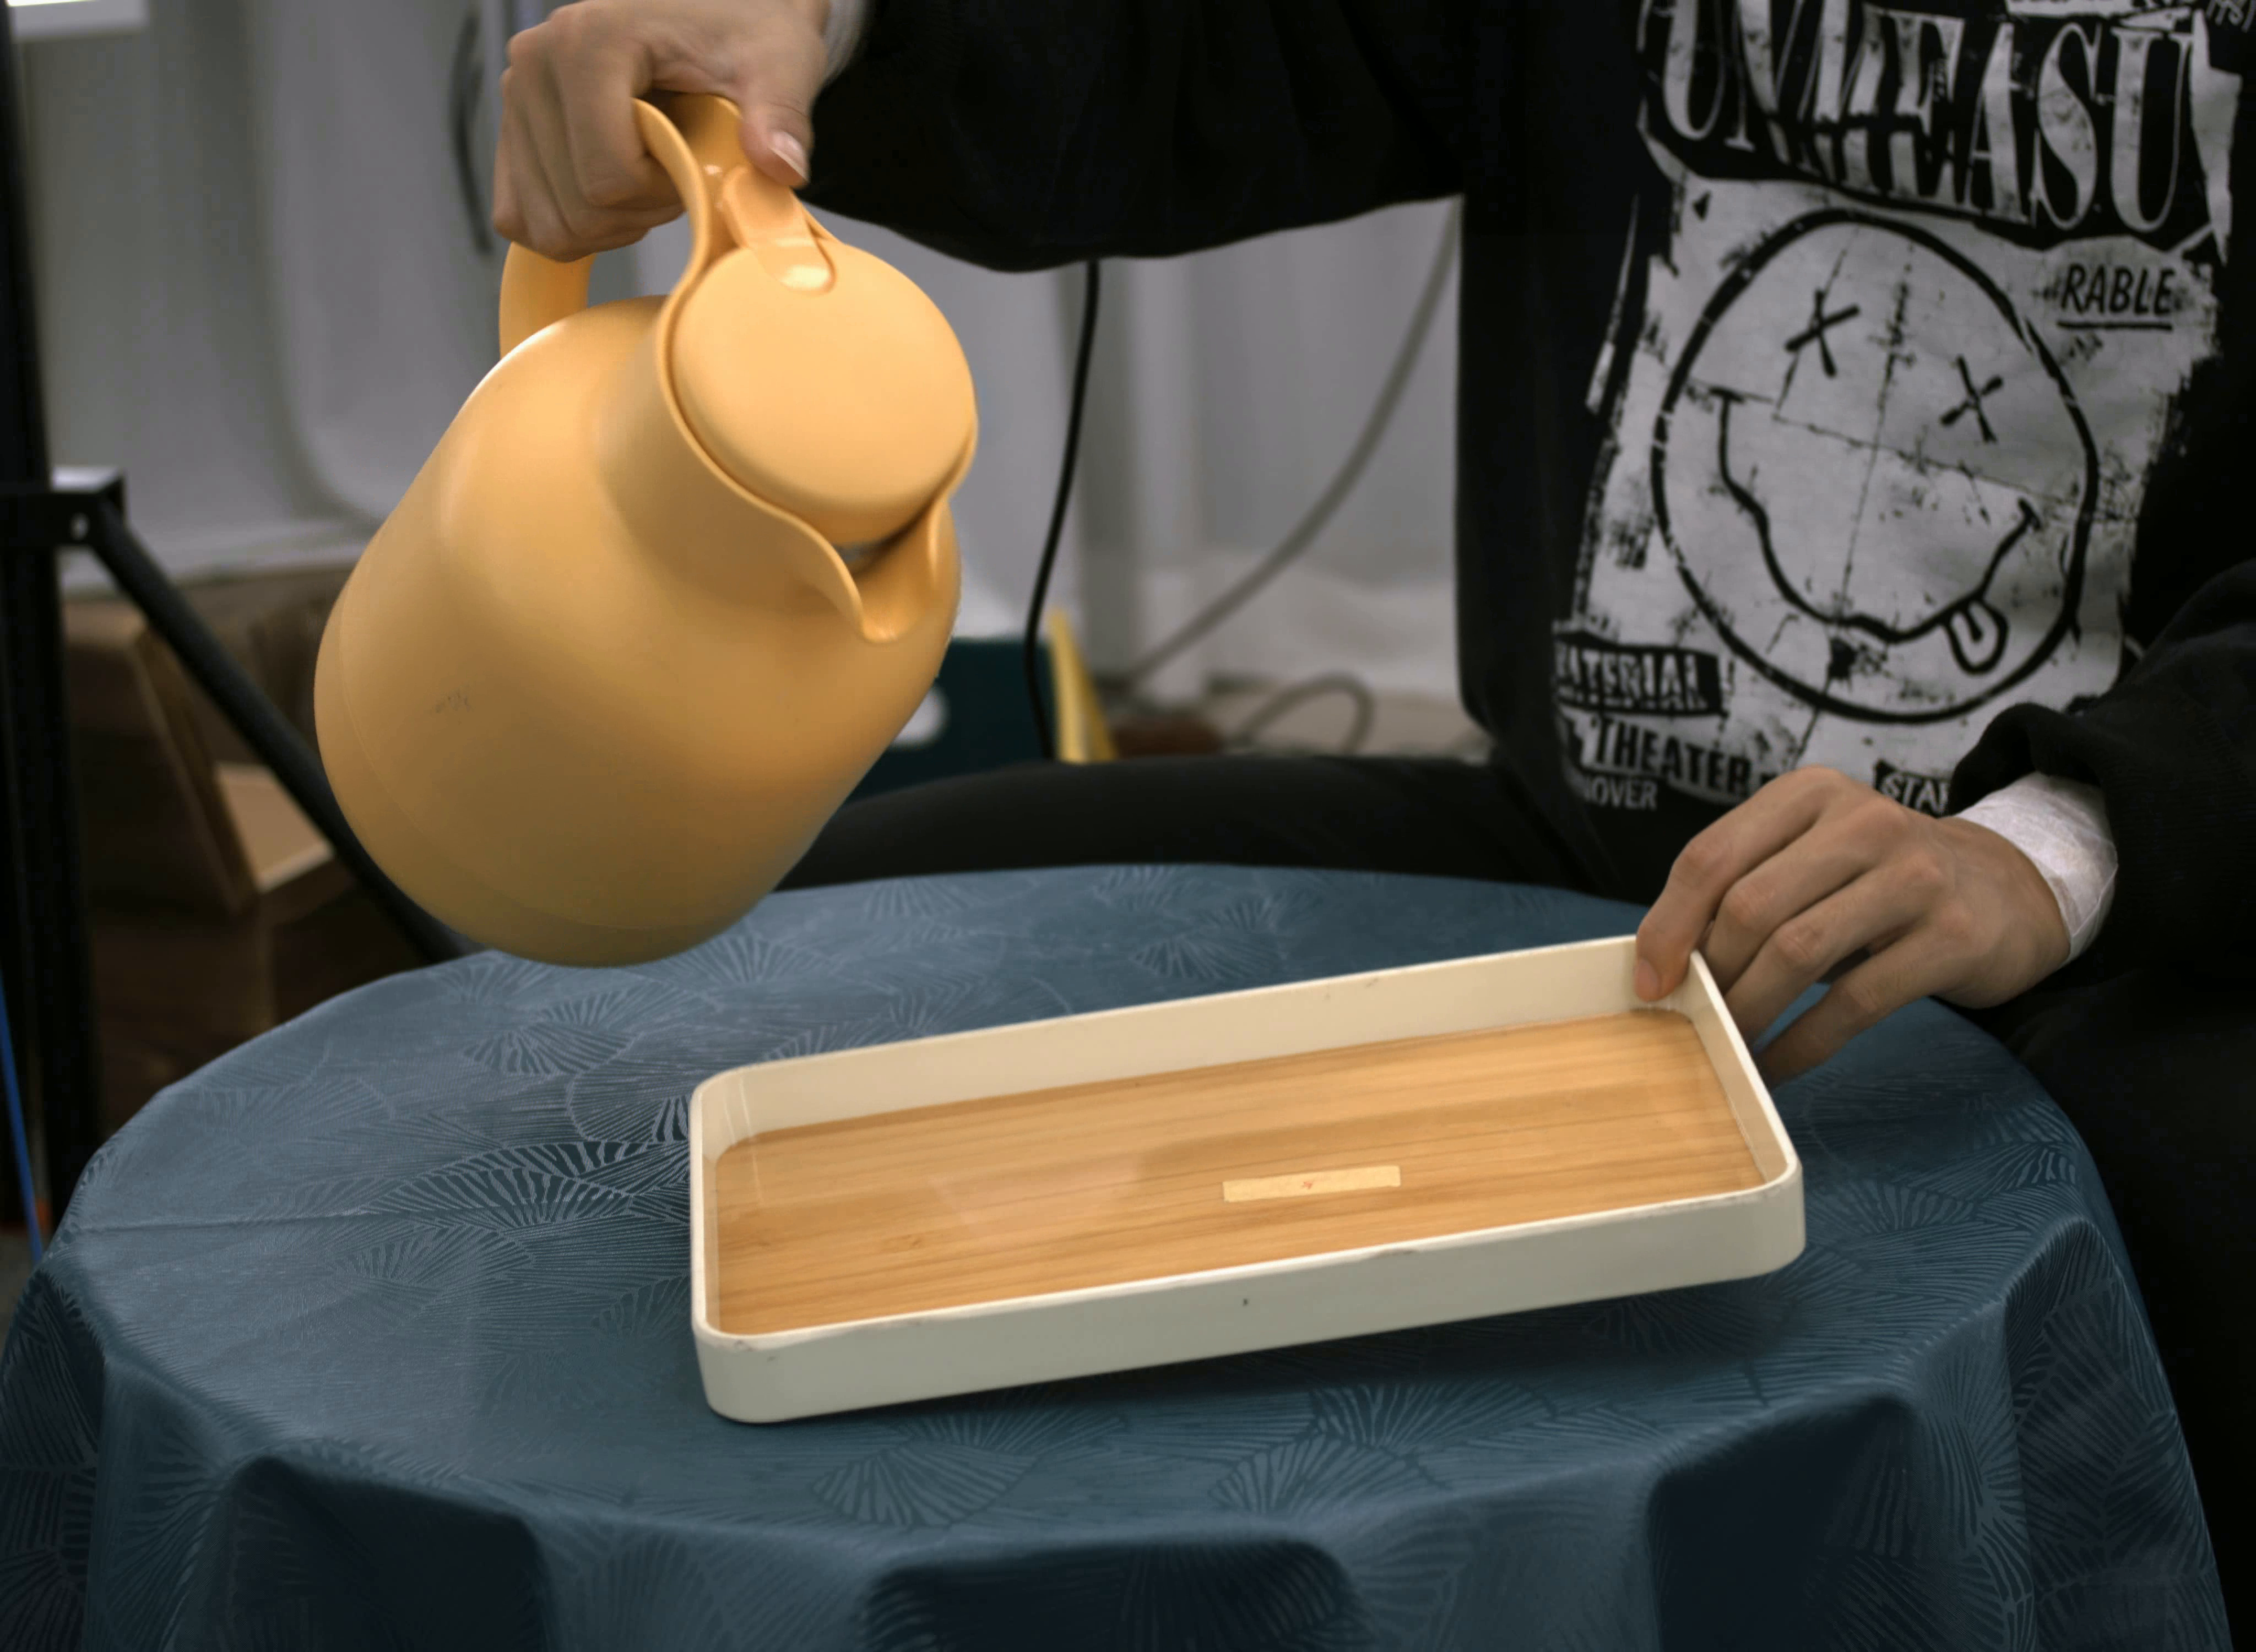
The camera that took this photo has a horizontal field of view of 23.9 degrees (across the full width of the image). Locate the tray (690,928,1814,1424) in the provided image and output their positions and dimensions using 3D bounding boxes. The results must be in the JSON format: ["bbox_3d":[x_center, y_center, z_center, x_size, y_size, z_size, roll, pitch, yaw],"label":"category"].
[{"bbox_3d":[0.028,0.095,1.476,0.299,0.027,0.193,-8,21,0],"label":"tray"}]

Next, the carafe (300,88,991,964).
[{"bbox_3d":[-0.138,-0.092,1.585,0.159,0.205,0.263,-5,-22,-33],"label":"carafe"}]
